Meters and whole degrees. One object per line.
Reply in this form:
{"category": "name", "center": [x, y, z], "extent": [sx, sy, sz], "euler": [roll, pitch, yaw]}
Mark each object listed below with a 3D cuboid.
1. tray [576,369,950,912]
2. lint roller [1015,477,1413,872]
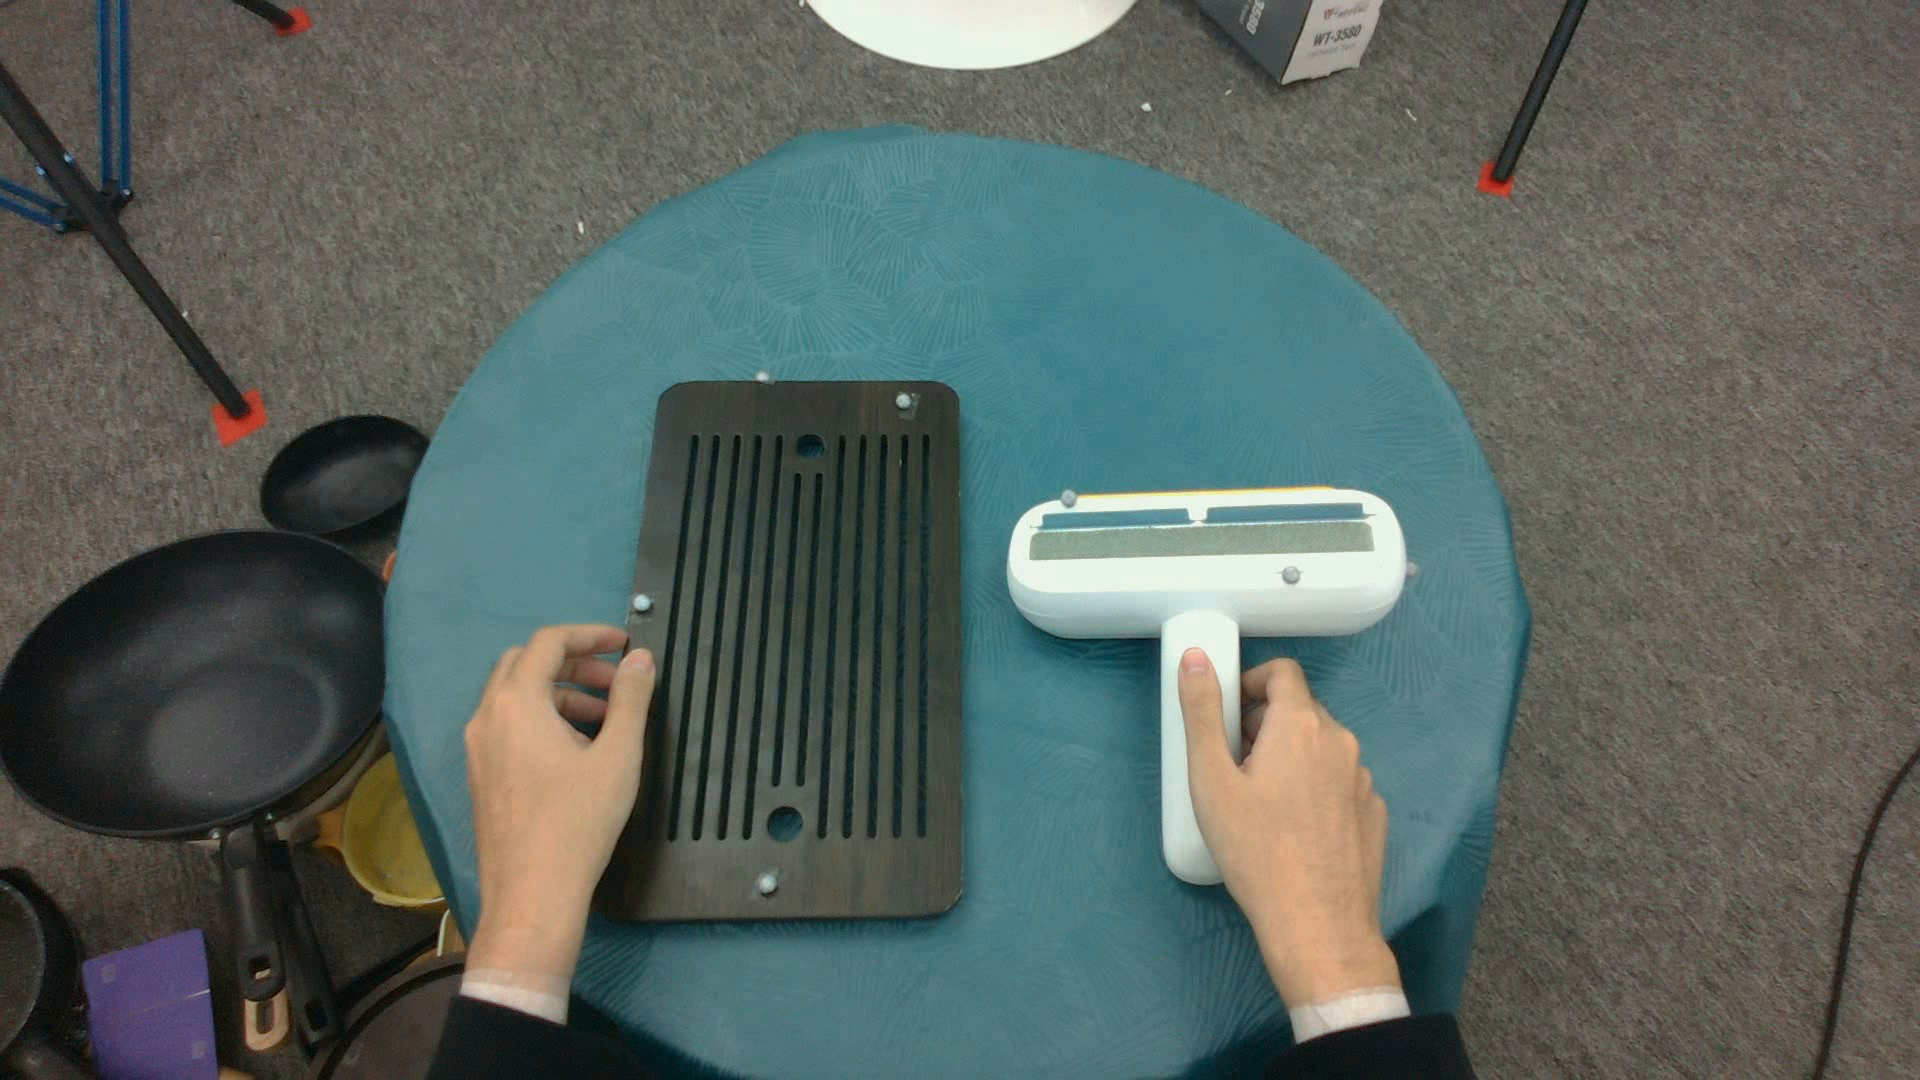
{"category": "tray", "center": [-0.091, 0.037, 0.702], "extent": [0.170, 0.018, 0.307], "euler": [0, 58, -1]}
{"category": "lint roller", "center": [0.115, 0.059, 0.661], "extent": [0.192, 0.074, 0.193], "euler": [4, 60, 11]}
